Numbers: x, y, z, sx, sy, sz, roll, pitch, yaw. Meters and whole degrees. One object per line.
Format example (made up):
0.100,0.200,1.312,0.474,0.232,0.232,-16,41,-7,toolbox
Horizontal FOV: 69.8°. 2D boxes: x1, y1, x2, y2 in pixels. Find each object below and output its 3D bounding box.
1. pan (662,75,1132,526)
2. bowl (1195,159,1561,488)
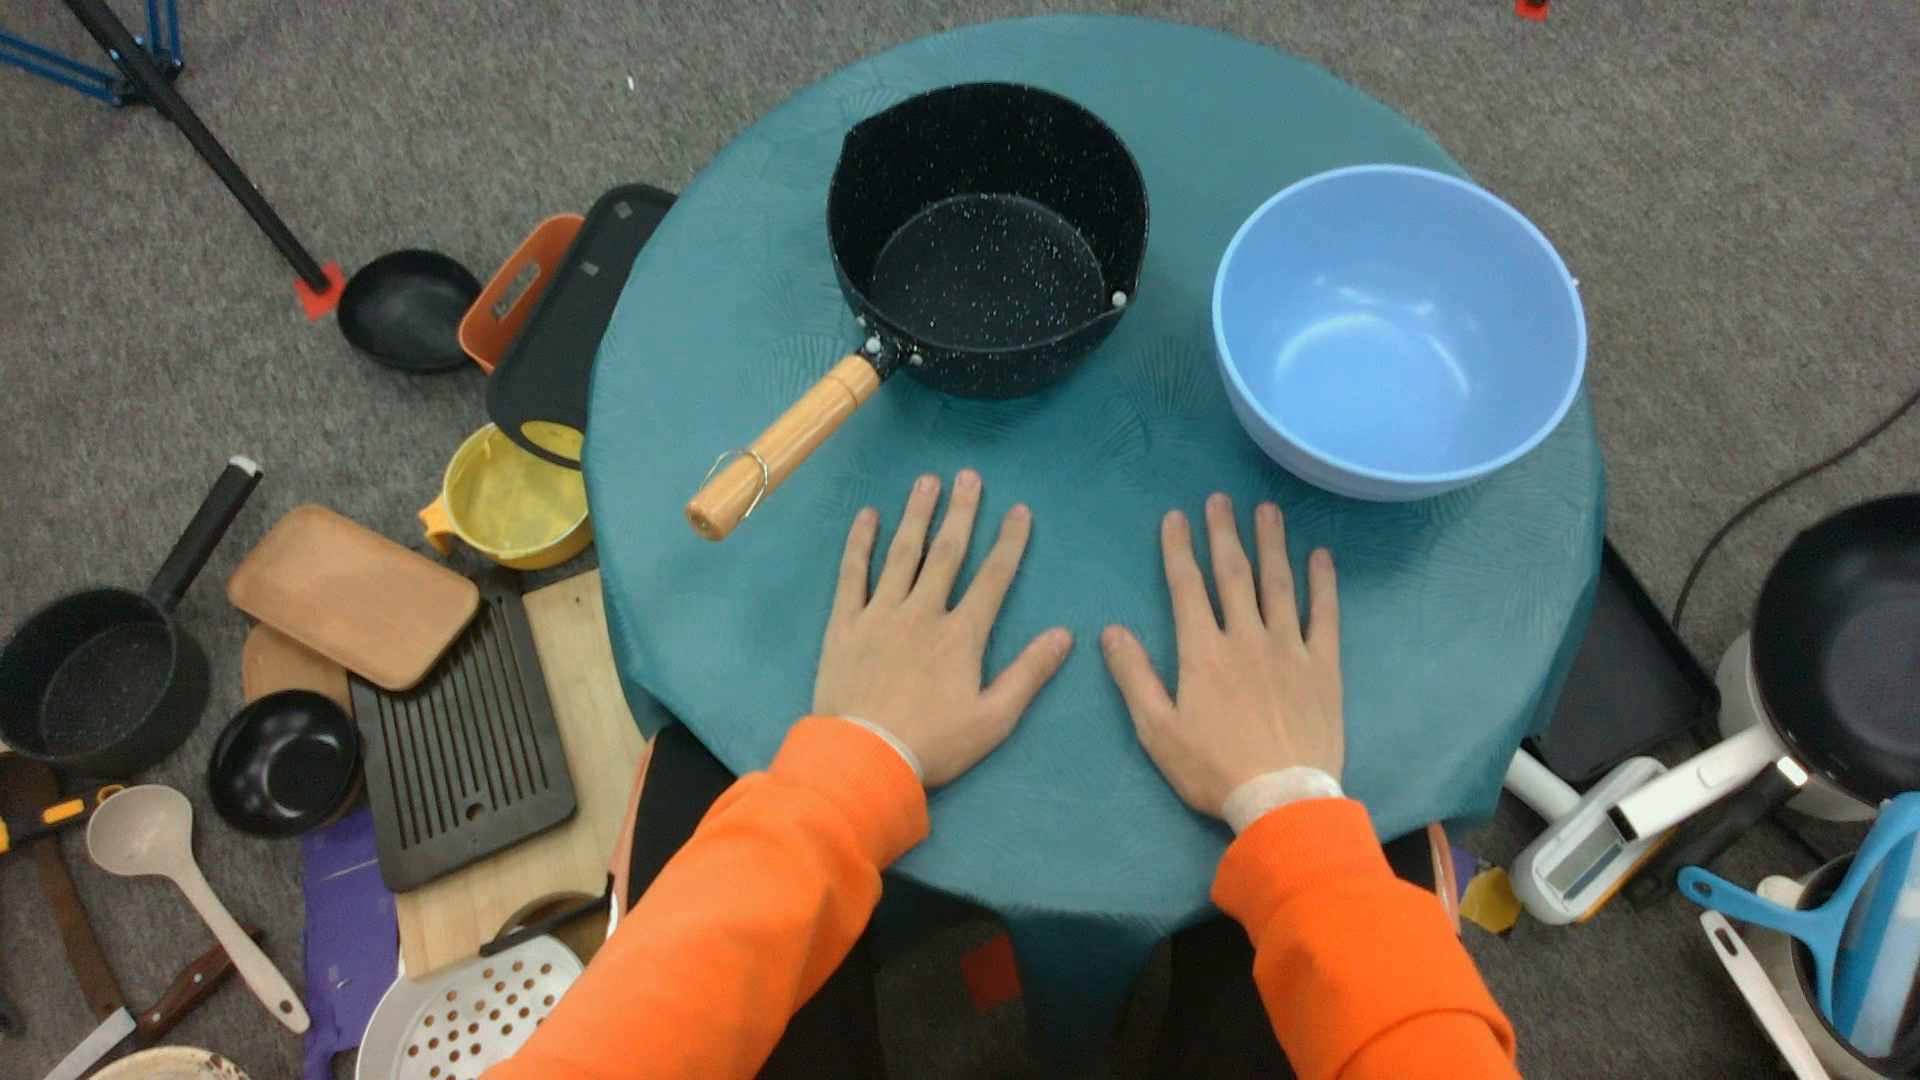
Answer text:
-0.040,-0.119,0.781,0.207,0.108,0.344,33,69,12,pan
0.225,-0.108,0.782,0.196,0.095,0.197,0,66,-1,bowl
